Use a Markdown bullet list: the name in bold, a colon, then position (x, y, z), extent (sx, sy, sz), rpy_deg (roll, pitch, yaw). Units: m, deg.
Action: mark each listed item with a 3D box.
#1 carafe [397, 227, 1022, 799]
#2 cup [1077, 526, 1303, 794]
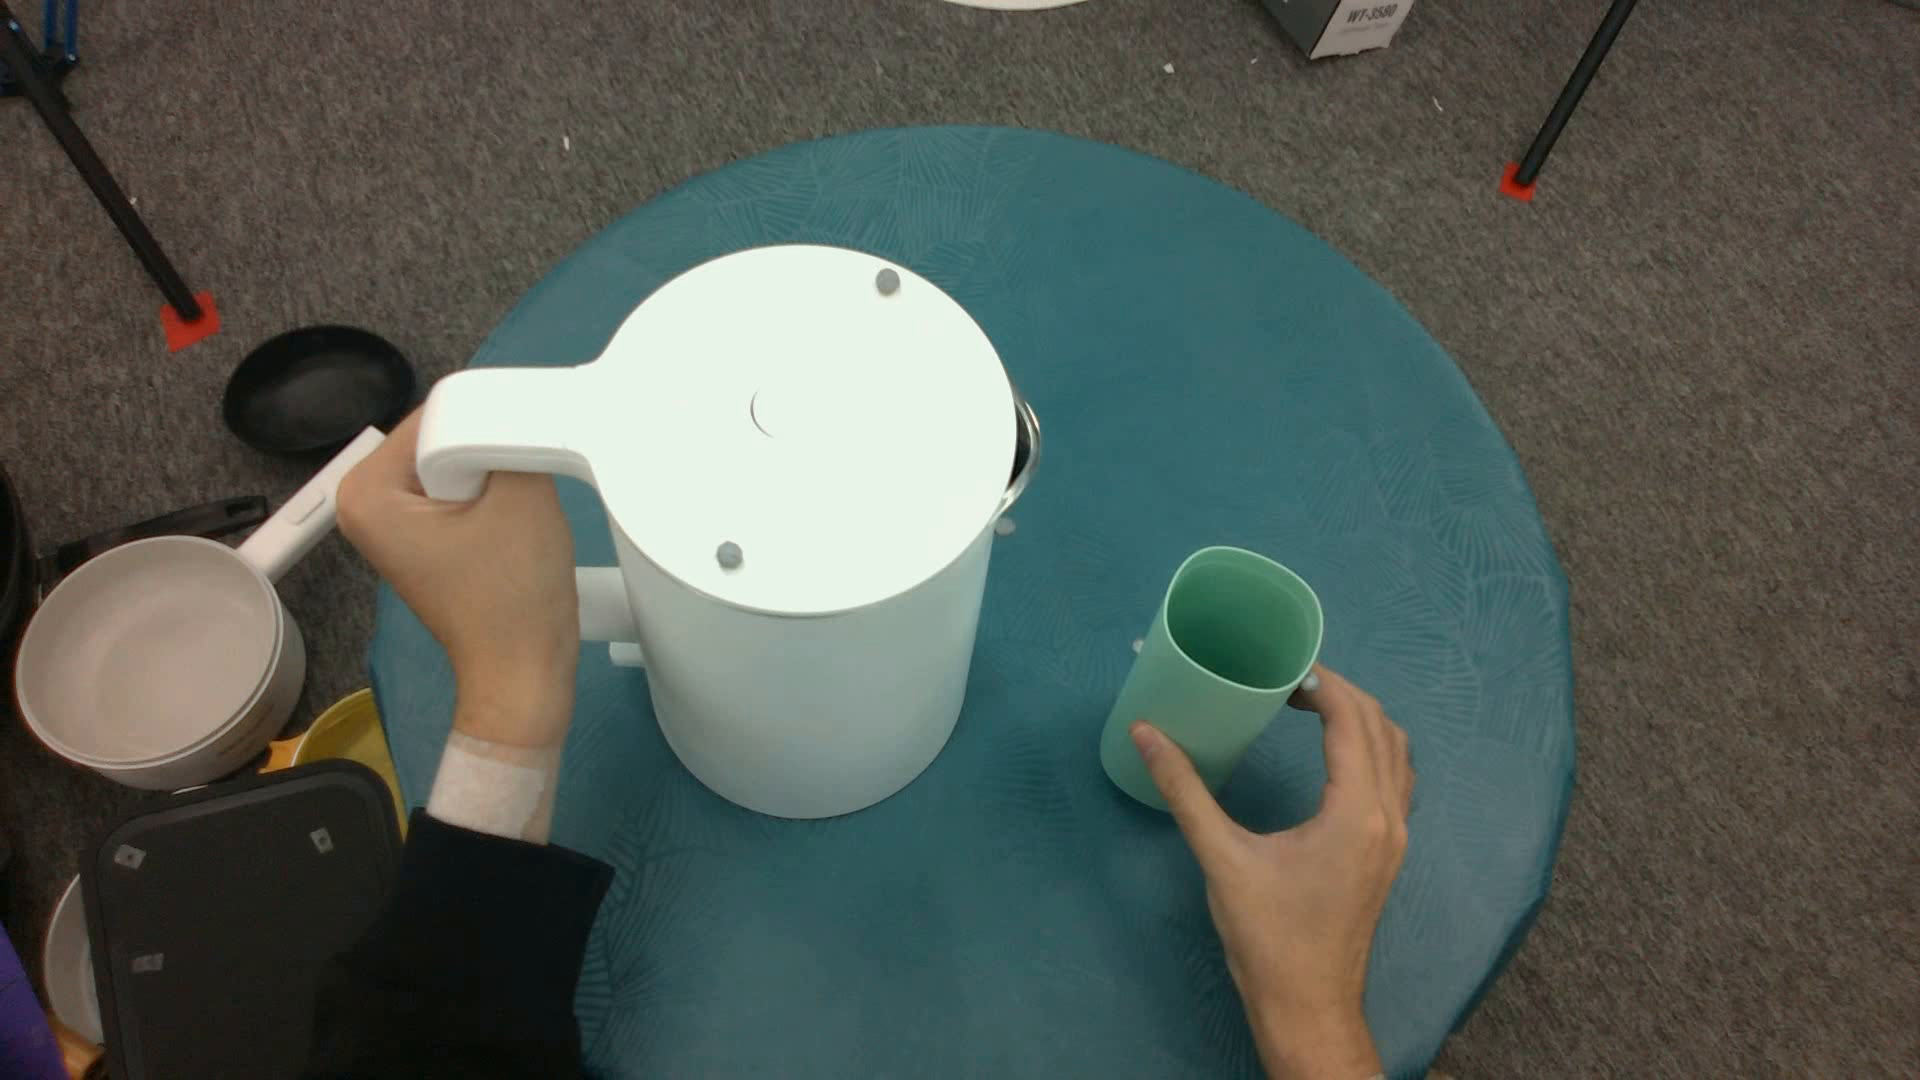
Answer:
- **carafe**: position (-0.097, -0.001, 0.559), extent (0.213, 0.239, 0.152), rpy_deg (3, 63, -7)
- **cup**: position (0.095, 0.057, 0.600), extent (0.067, 0.131, 0.067), rpy_deg (5, 57, -7)
